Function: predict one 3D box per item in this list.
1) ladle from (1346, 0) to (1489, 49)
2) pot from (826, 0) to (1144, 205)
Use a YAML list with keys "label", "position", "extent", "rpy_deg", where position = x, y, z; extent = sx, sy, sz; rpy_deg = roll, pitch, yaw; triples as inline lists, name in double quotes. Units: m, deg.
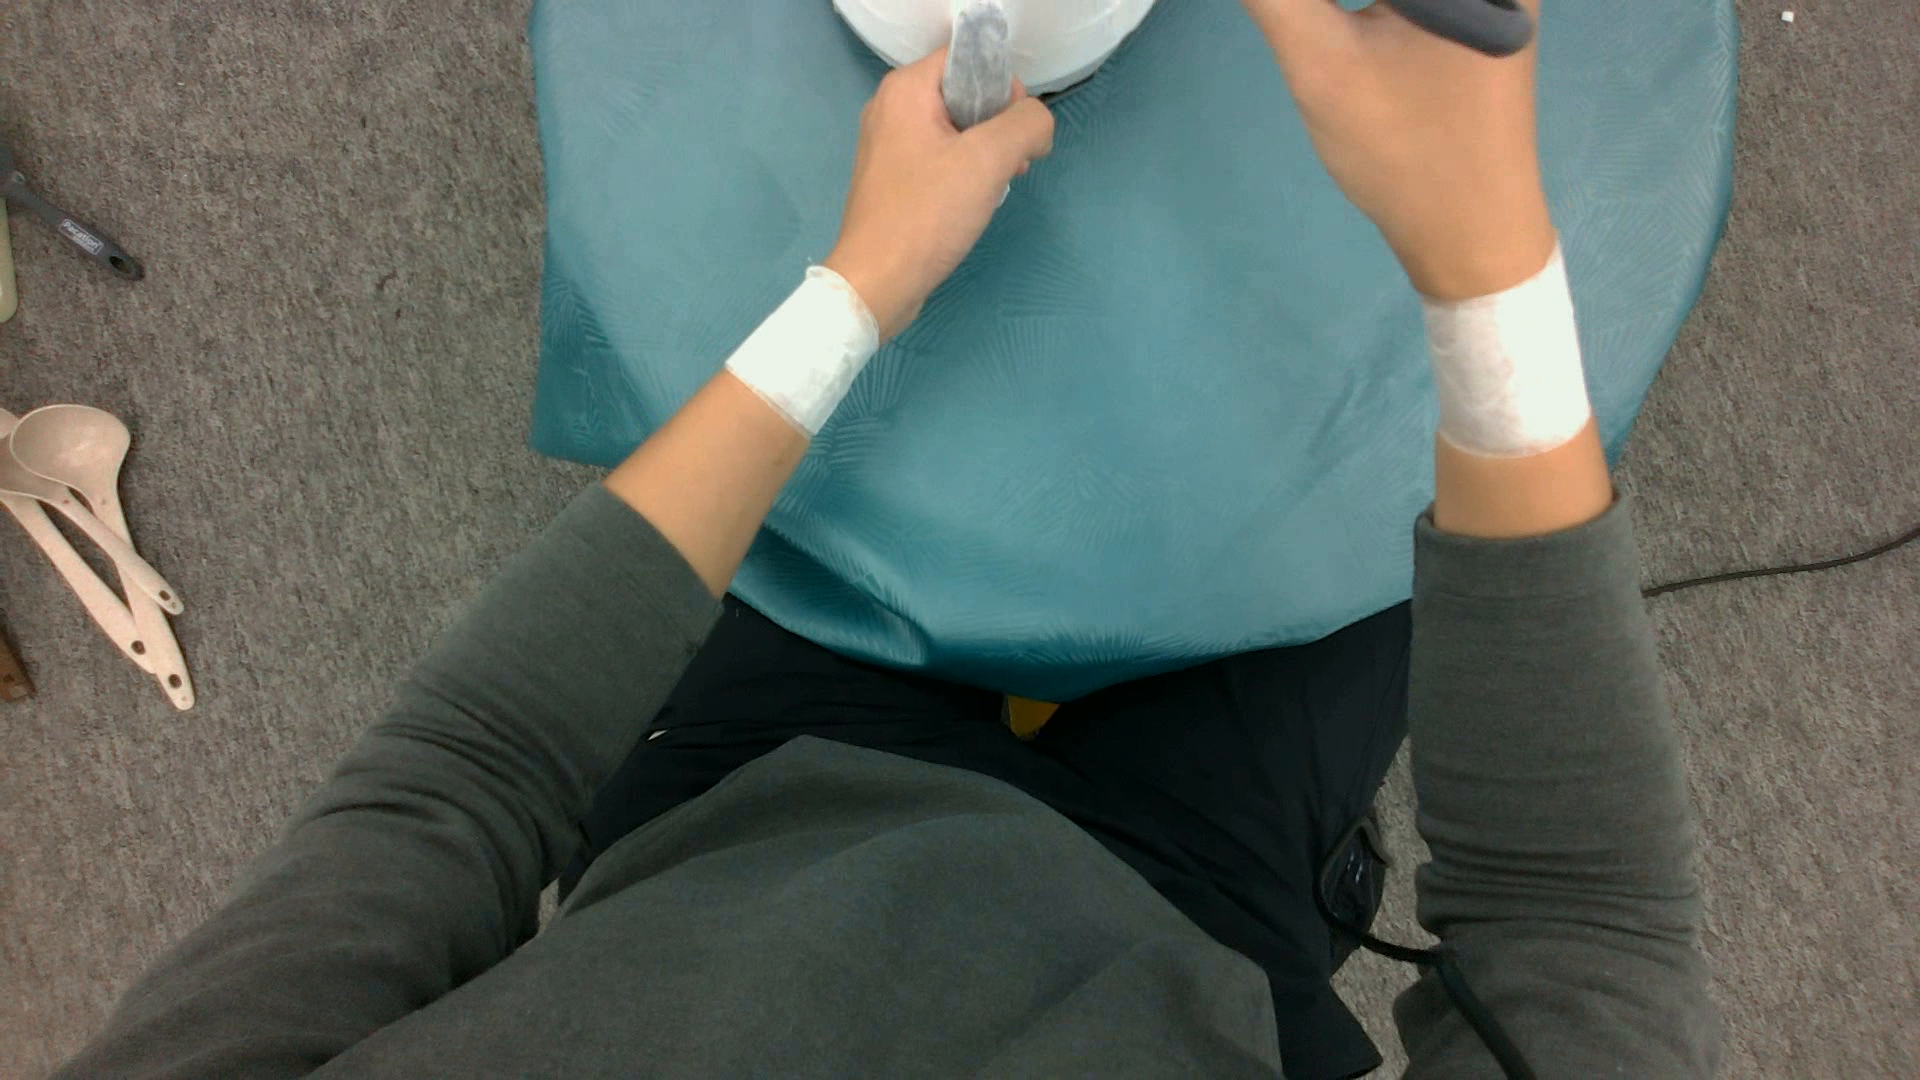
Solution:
- label: "ladle"
  position: [0.077, -0.241, 0.435]
  extent: [0.086, 0.063, 0.315]
  rpy_deg: [-12, 43, -14]
- label: "pot"
  position: [0.011, -0.276, 0.615]
  extent: [0.179, 0.136, 0.234]
  rpy_deg: [5, 85, -2]
